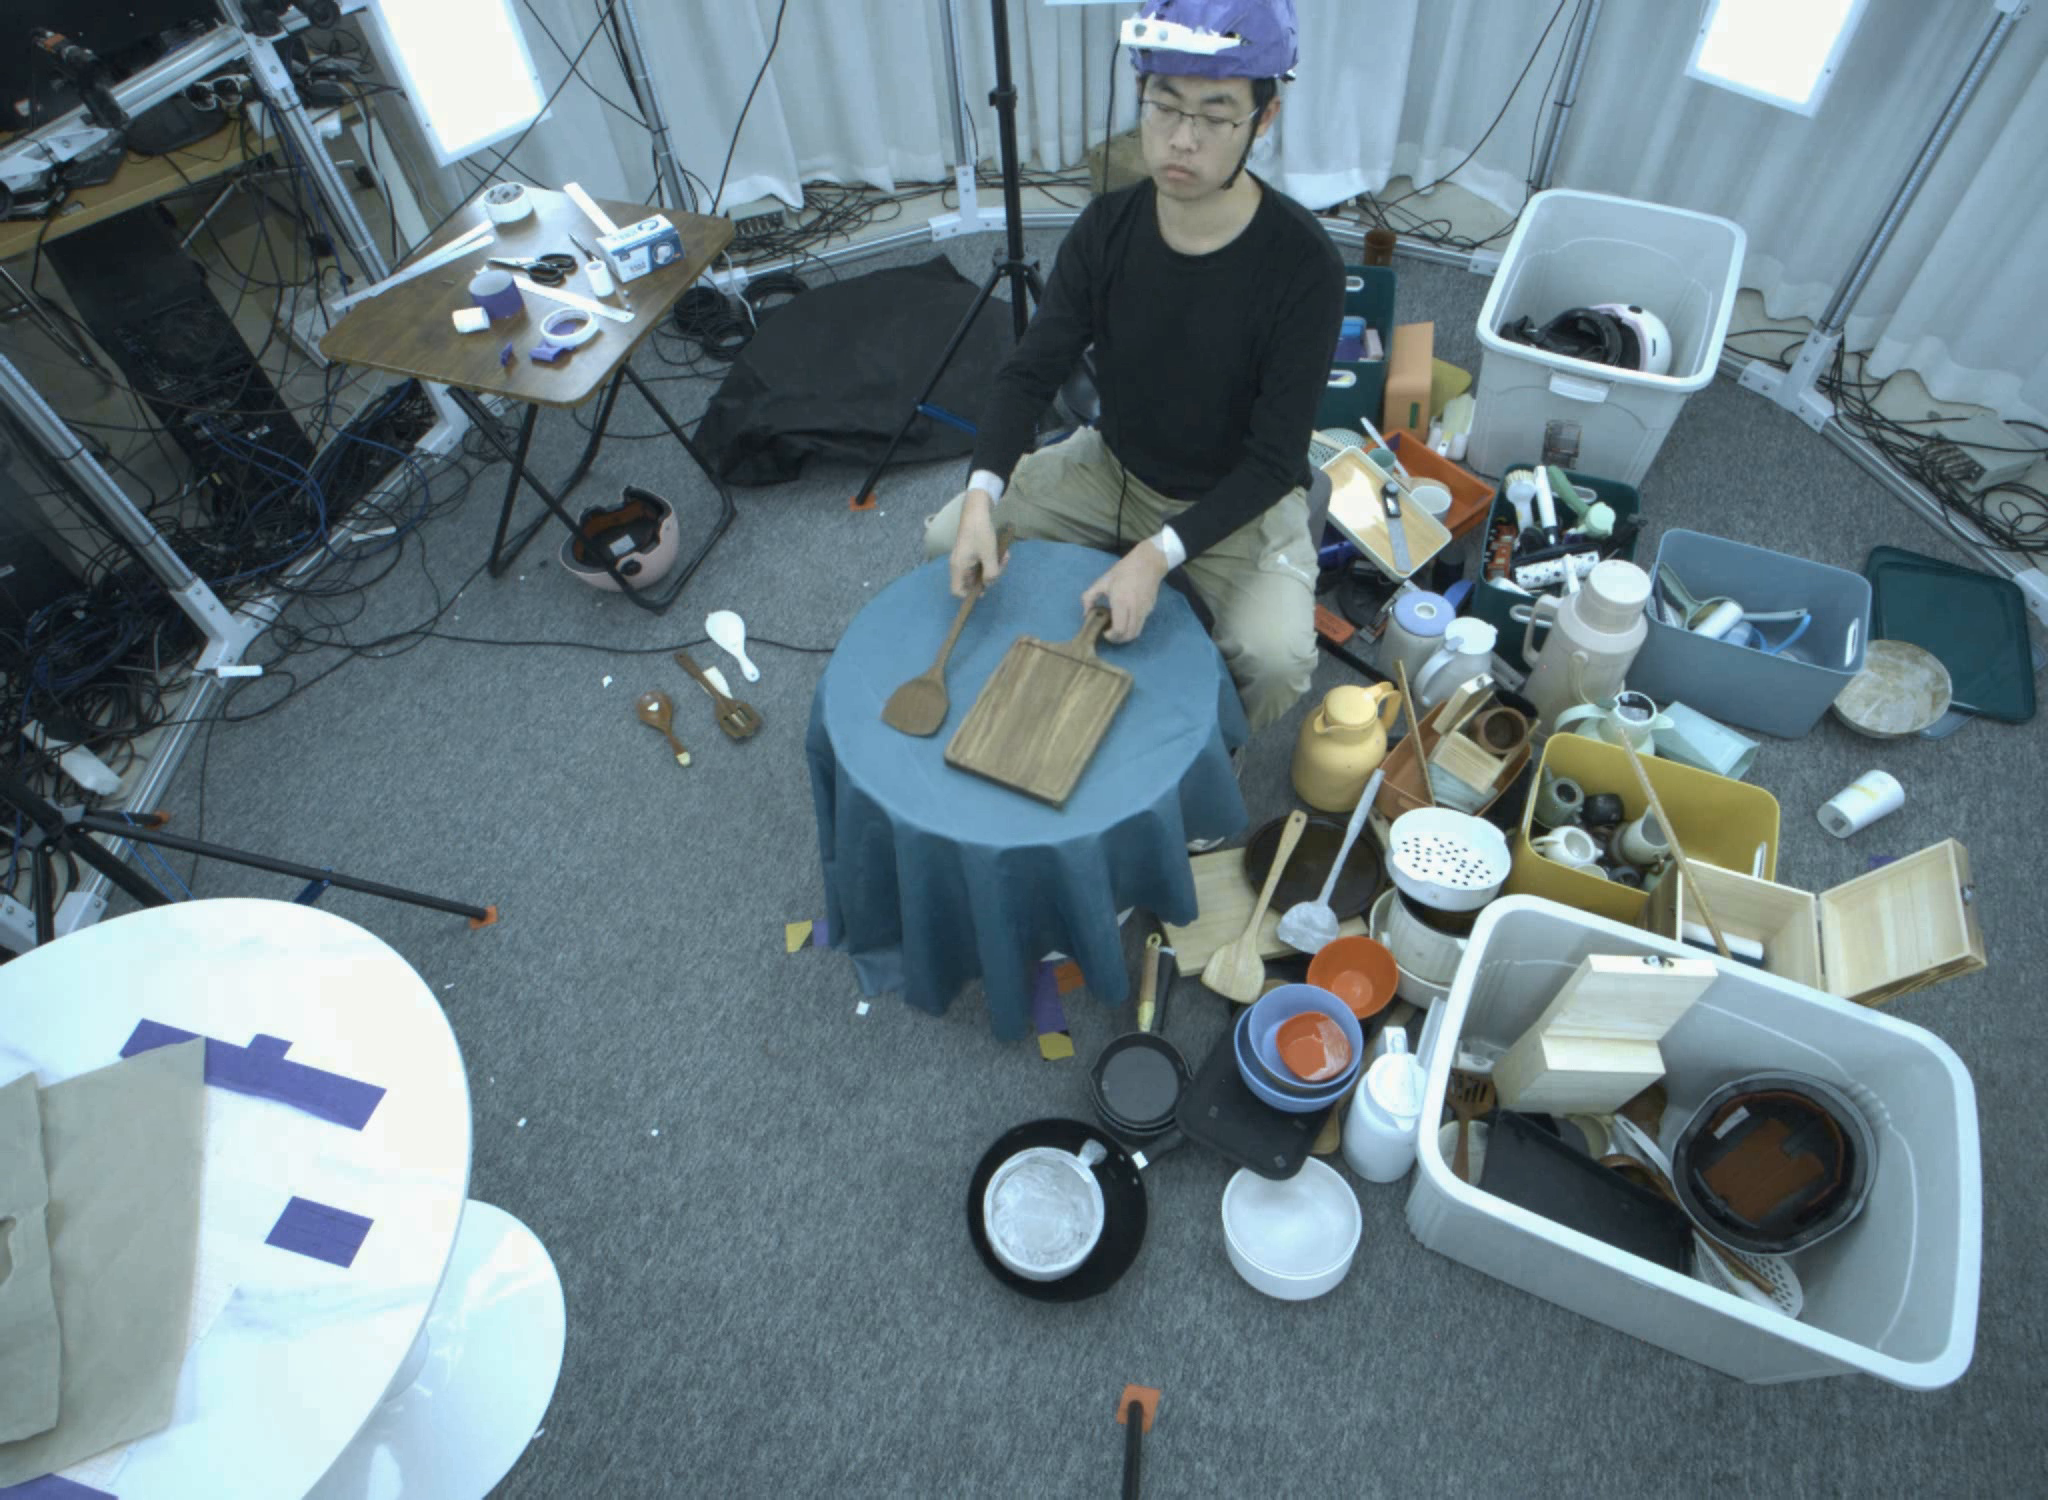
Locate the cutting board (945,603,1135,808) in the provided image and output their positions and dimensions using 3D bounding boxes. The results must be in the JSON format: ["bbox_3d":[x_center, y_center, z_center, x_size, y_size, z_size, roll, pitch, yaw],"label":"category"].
[{"bbox_3d":[0.048,-0.086,1.825,0.198,0.023,0.352,21,61,16],"label":"cutting board"}]

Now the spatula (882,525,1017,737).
[{"bbox_3d":[-0.099,-0.190,1.870,0.095,0.016,0.385,20,72,18],"label":"spatula"}]
